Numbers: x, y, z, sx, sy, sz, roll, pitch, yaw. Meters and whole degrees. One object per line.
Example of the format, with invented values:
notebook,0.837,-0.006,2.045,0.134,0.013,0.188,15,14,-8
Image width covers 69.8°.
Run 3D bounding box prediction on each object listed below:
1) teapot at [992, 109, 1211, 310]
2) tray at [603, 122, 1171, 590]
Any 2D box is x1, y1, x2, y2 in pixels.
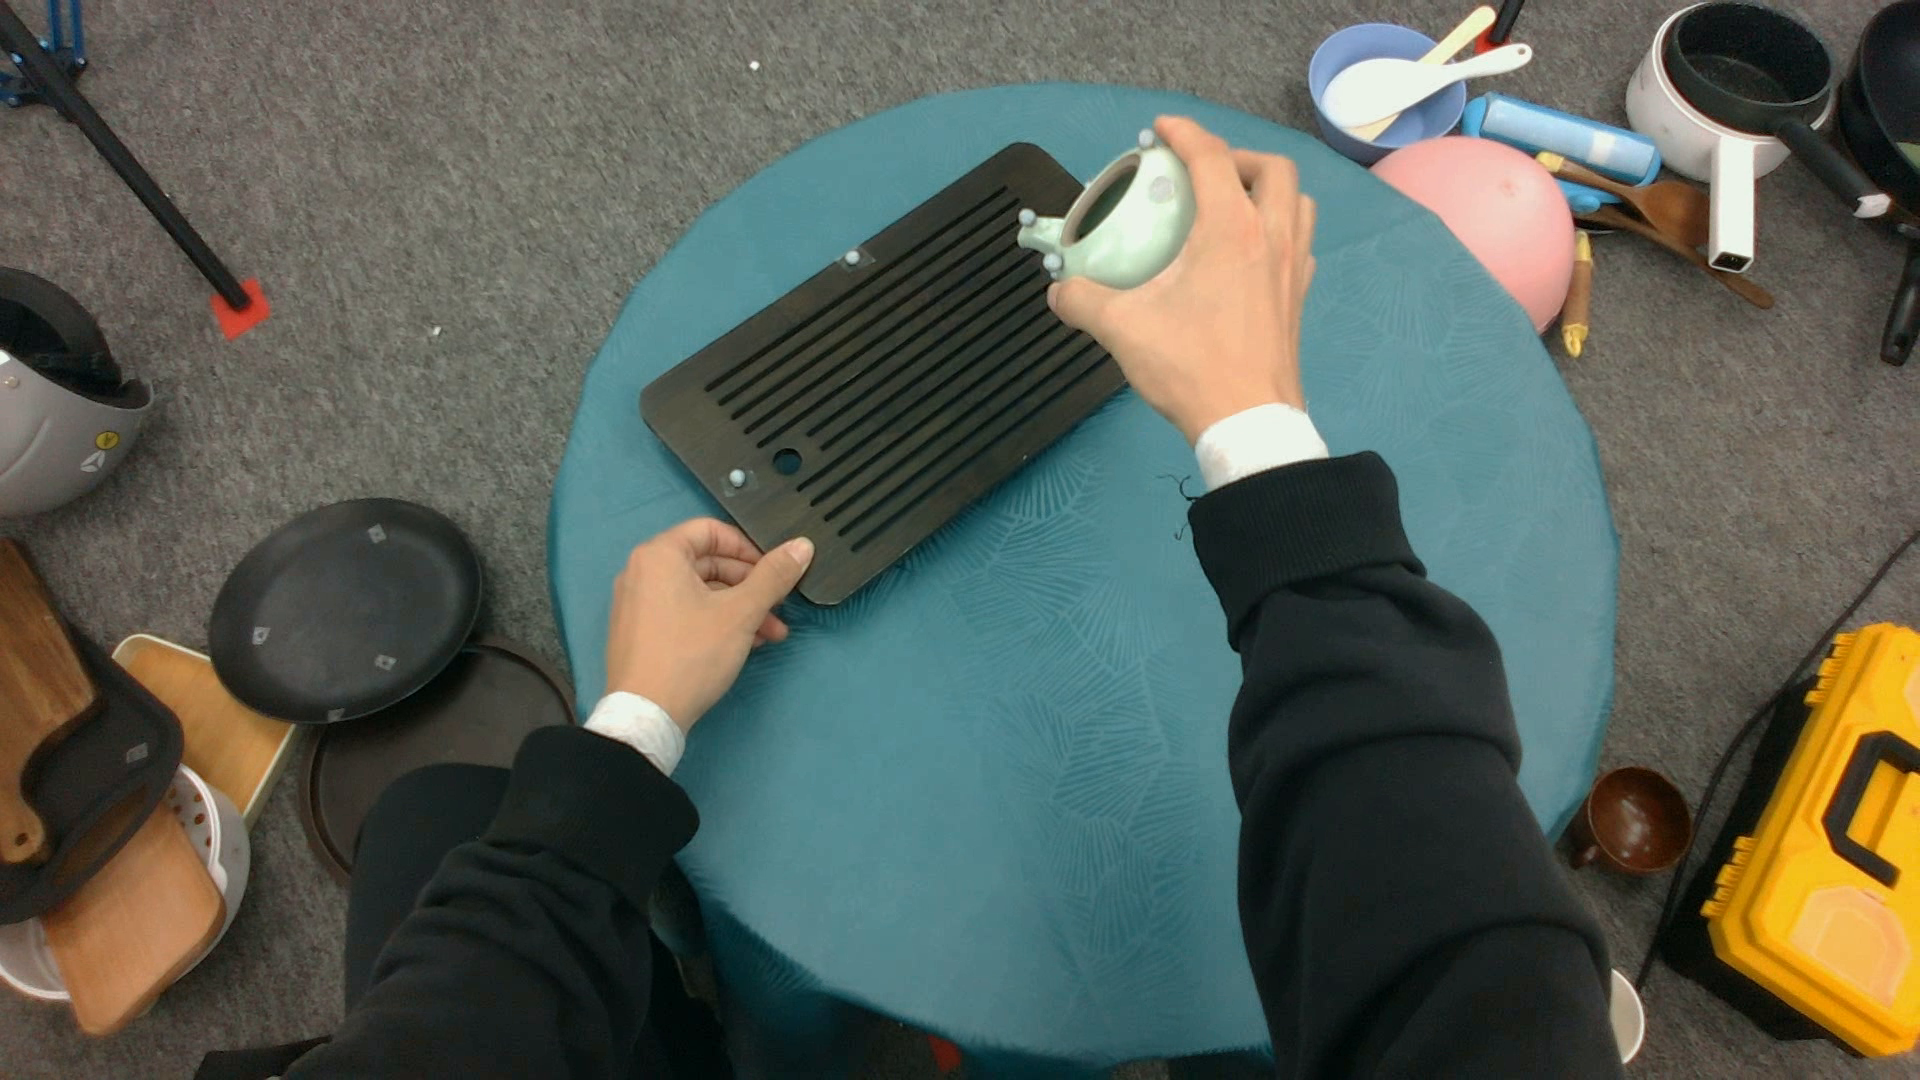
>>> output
teapot,0.073,-0.150,0.637,0.075,0.143,0.088,34,74,-18
tray,-0.036,-0.116,0.794,0.307,0.018,0.170,-39,75,-21
